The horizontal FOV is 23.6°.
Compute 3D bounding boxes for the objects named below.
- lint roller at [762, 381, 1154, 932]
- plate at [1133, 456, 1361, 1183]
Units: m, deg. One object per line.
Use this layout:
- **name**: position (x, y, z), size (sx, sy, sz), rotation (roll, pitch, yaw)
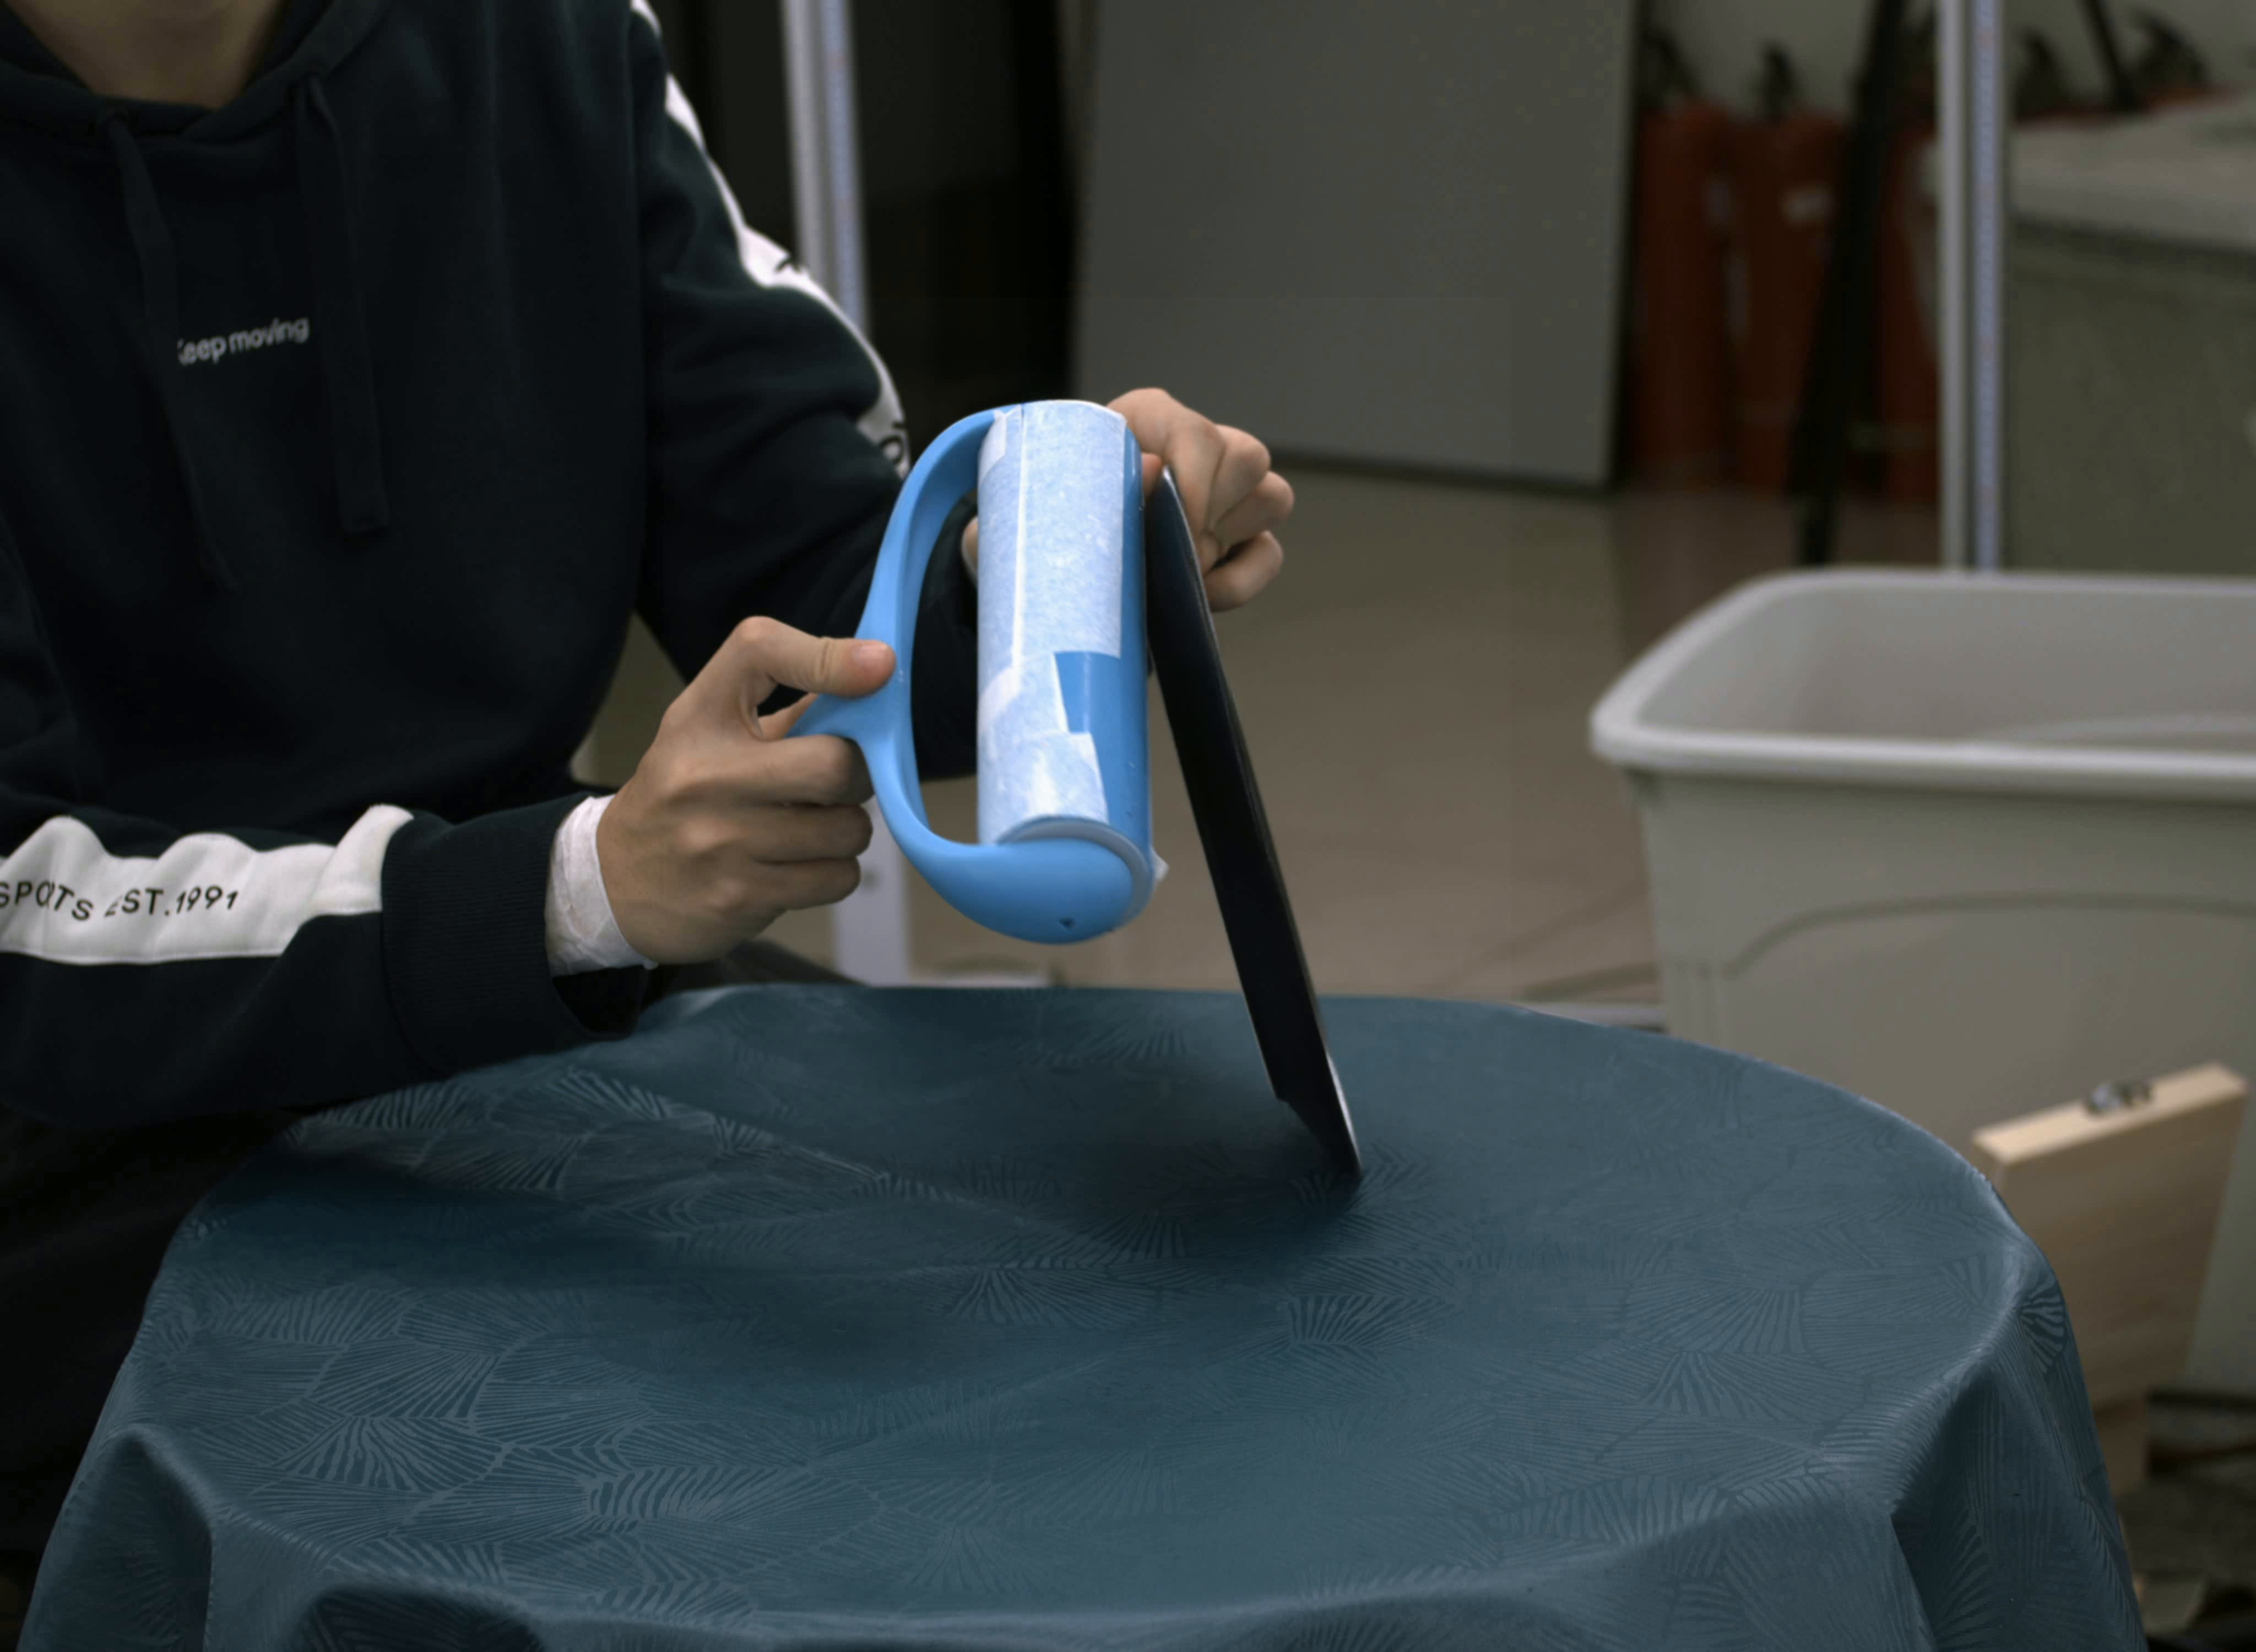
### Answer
- **lint roller**: position (-0.066, -0.029, 1.708), size (0.181, 0.067, 0.231), rotation (-34, 36, 24)
- **plate**: position (0.034, 0.000, 1.763), size (0.023, 0.246, 0.245), rotation (-16, 13, 1)
